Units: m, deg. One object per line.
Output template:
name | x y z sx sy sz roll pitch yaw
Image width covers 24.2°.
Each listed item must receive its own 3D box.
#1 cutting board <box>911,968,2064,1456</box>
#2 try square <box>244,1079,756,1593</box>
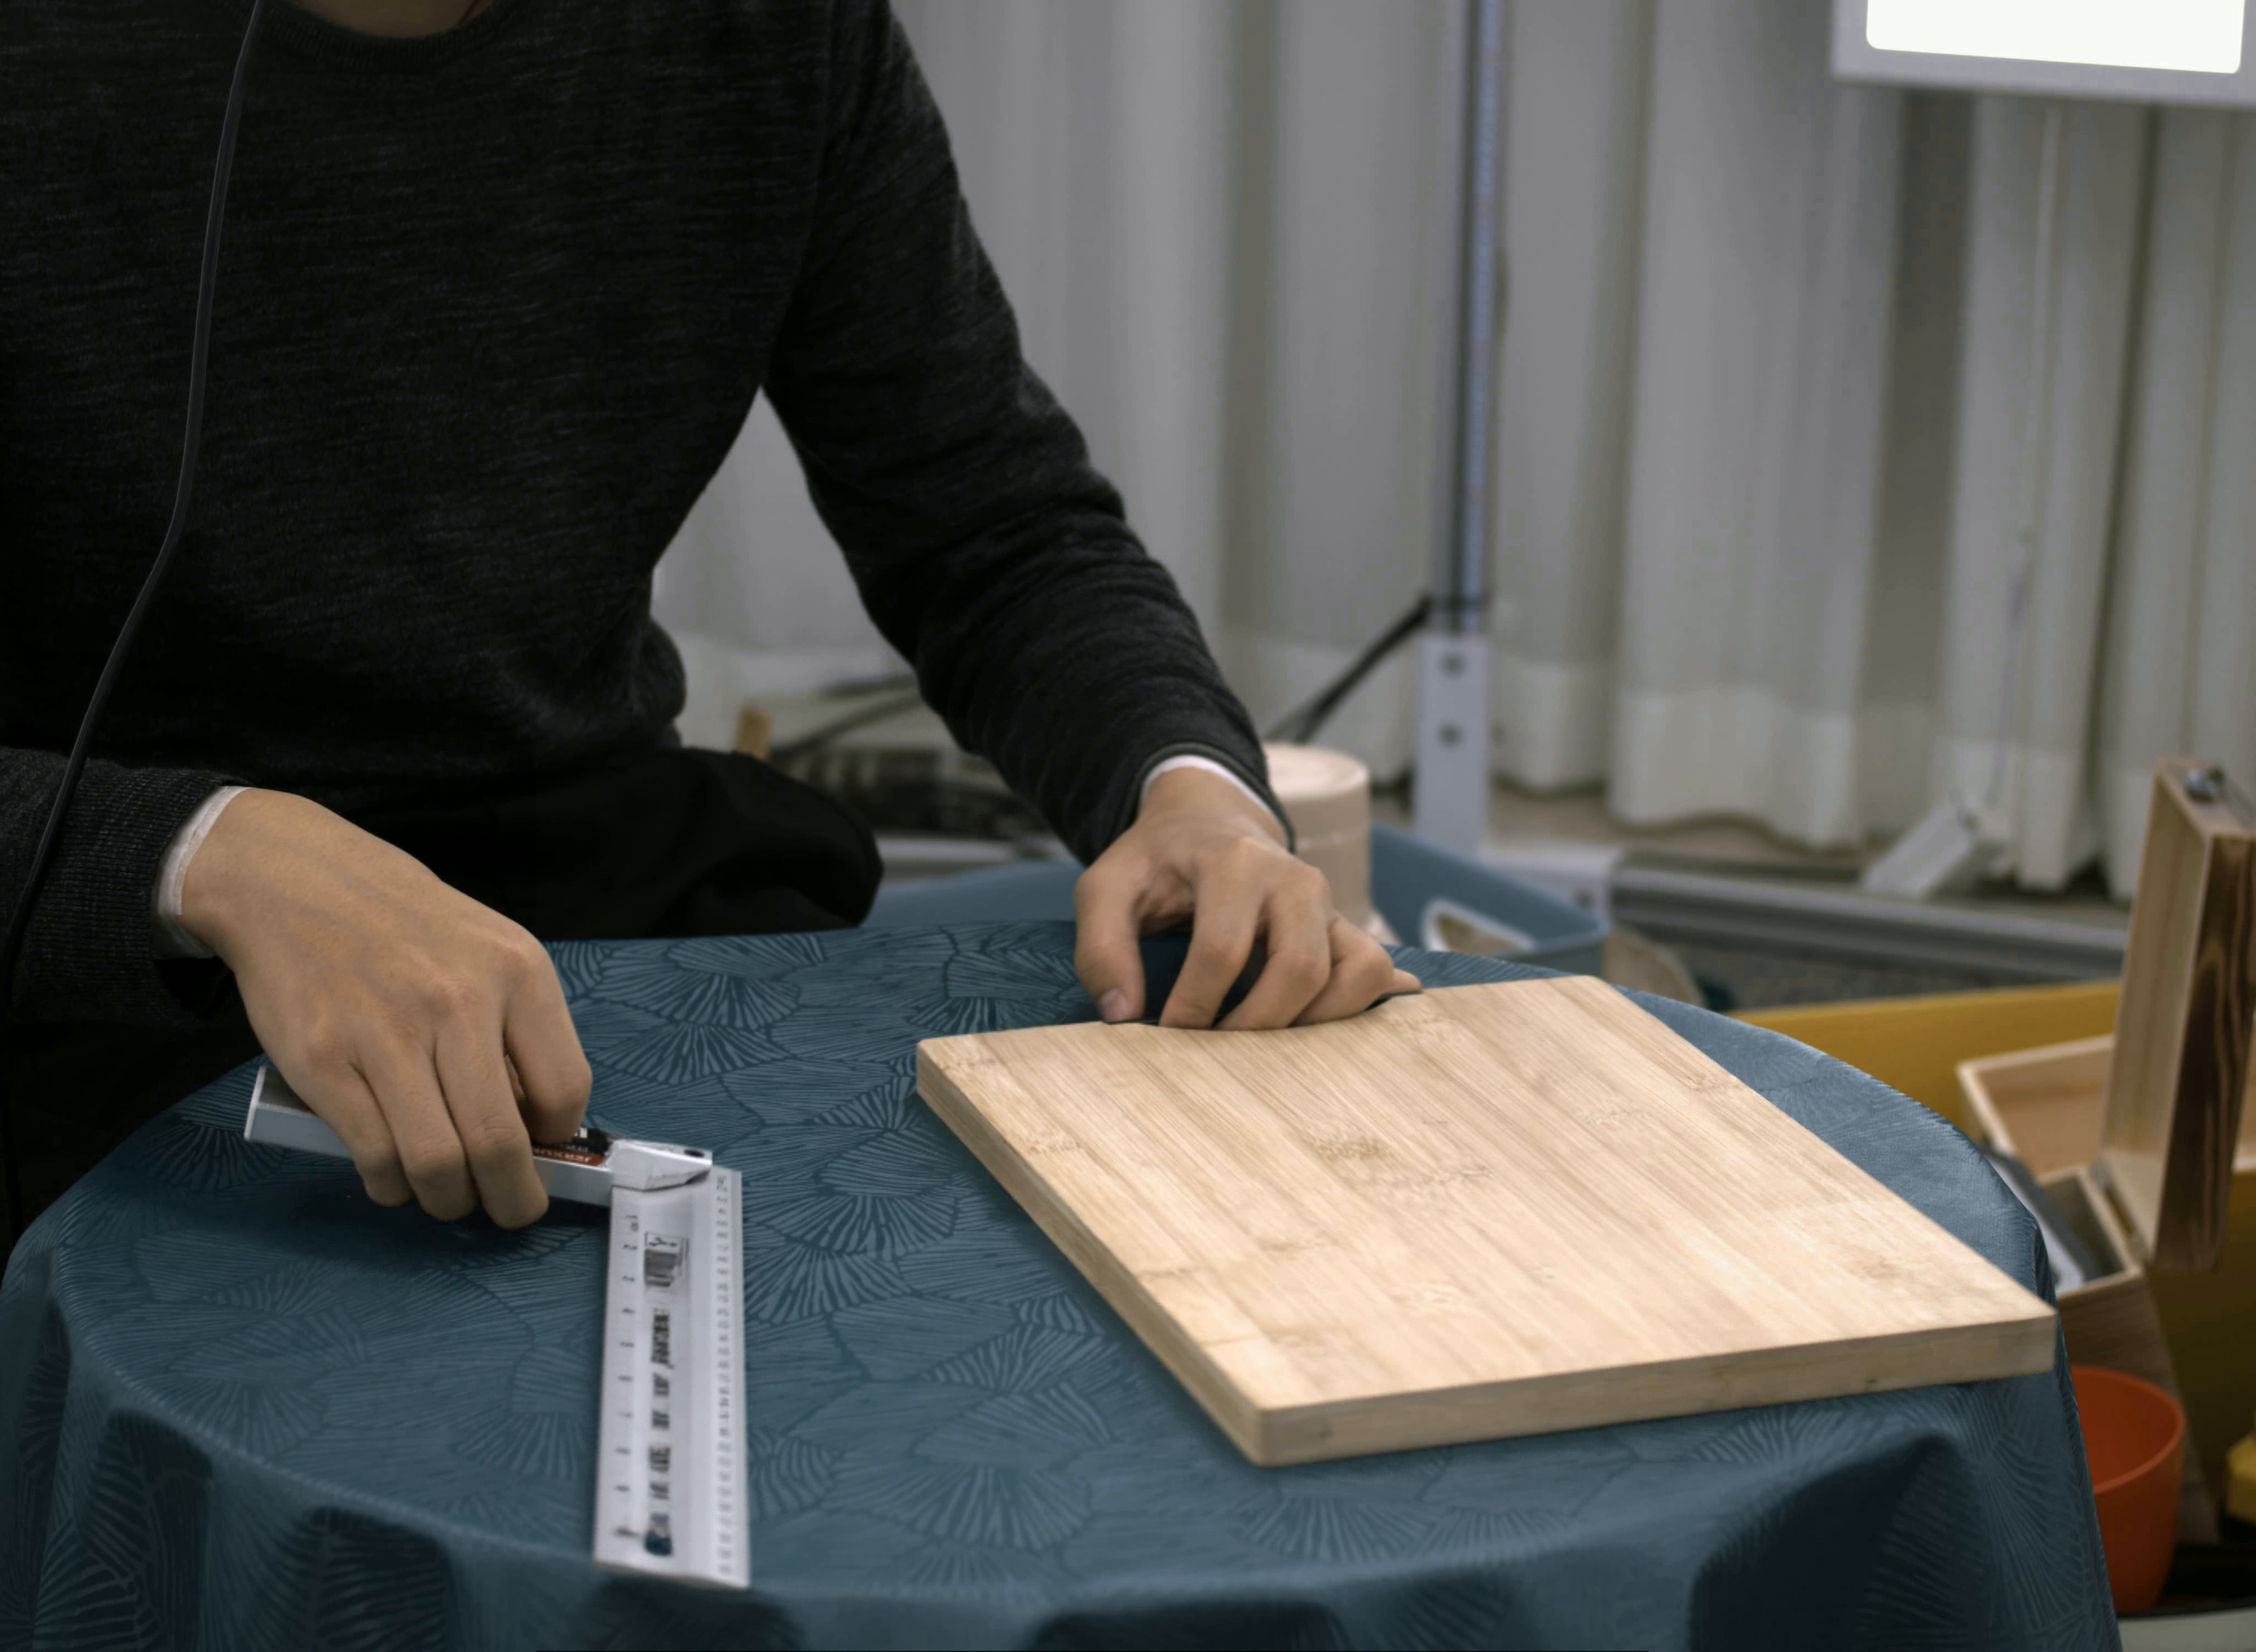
cutting board | 0.096 0.110 1.601 0.251 0.024 0.345 -5 16 -19
try square | -0.179 0.137 1.463 0.152 0.016 0.310 10 15 -8
